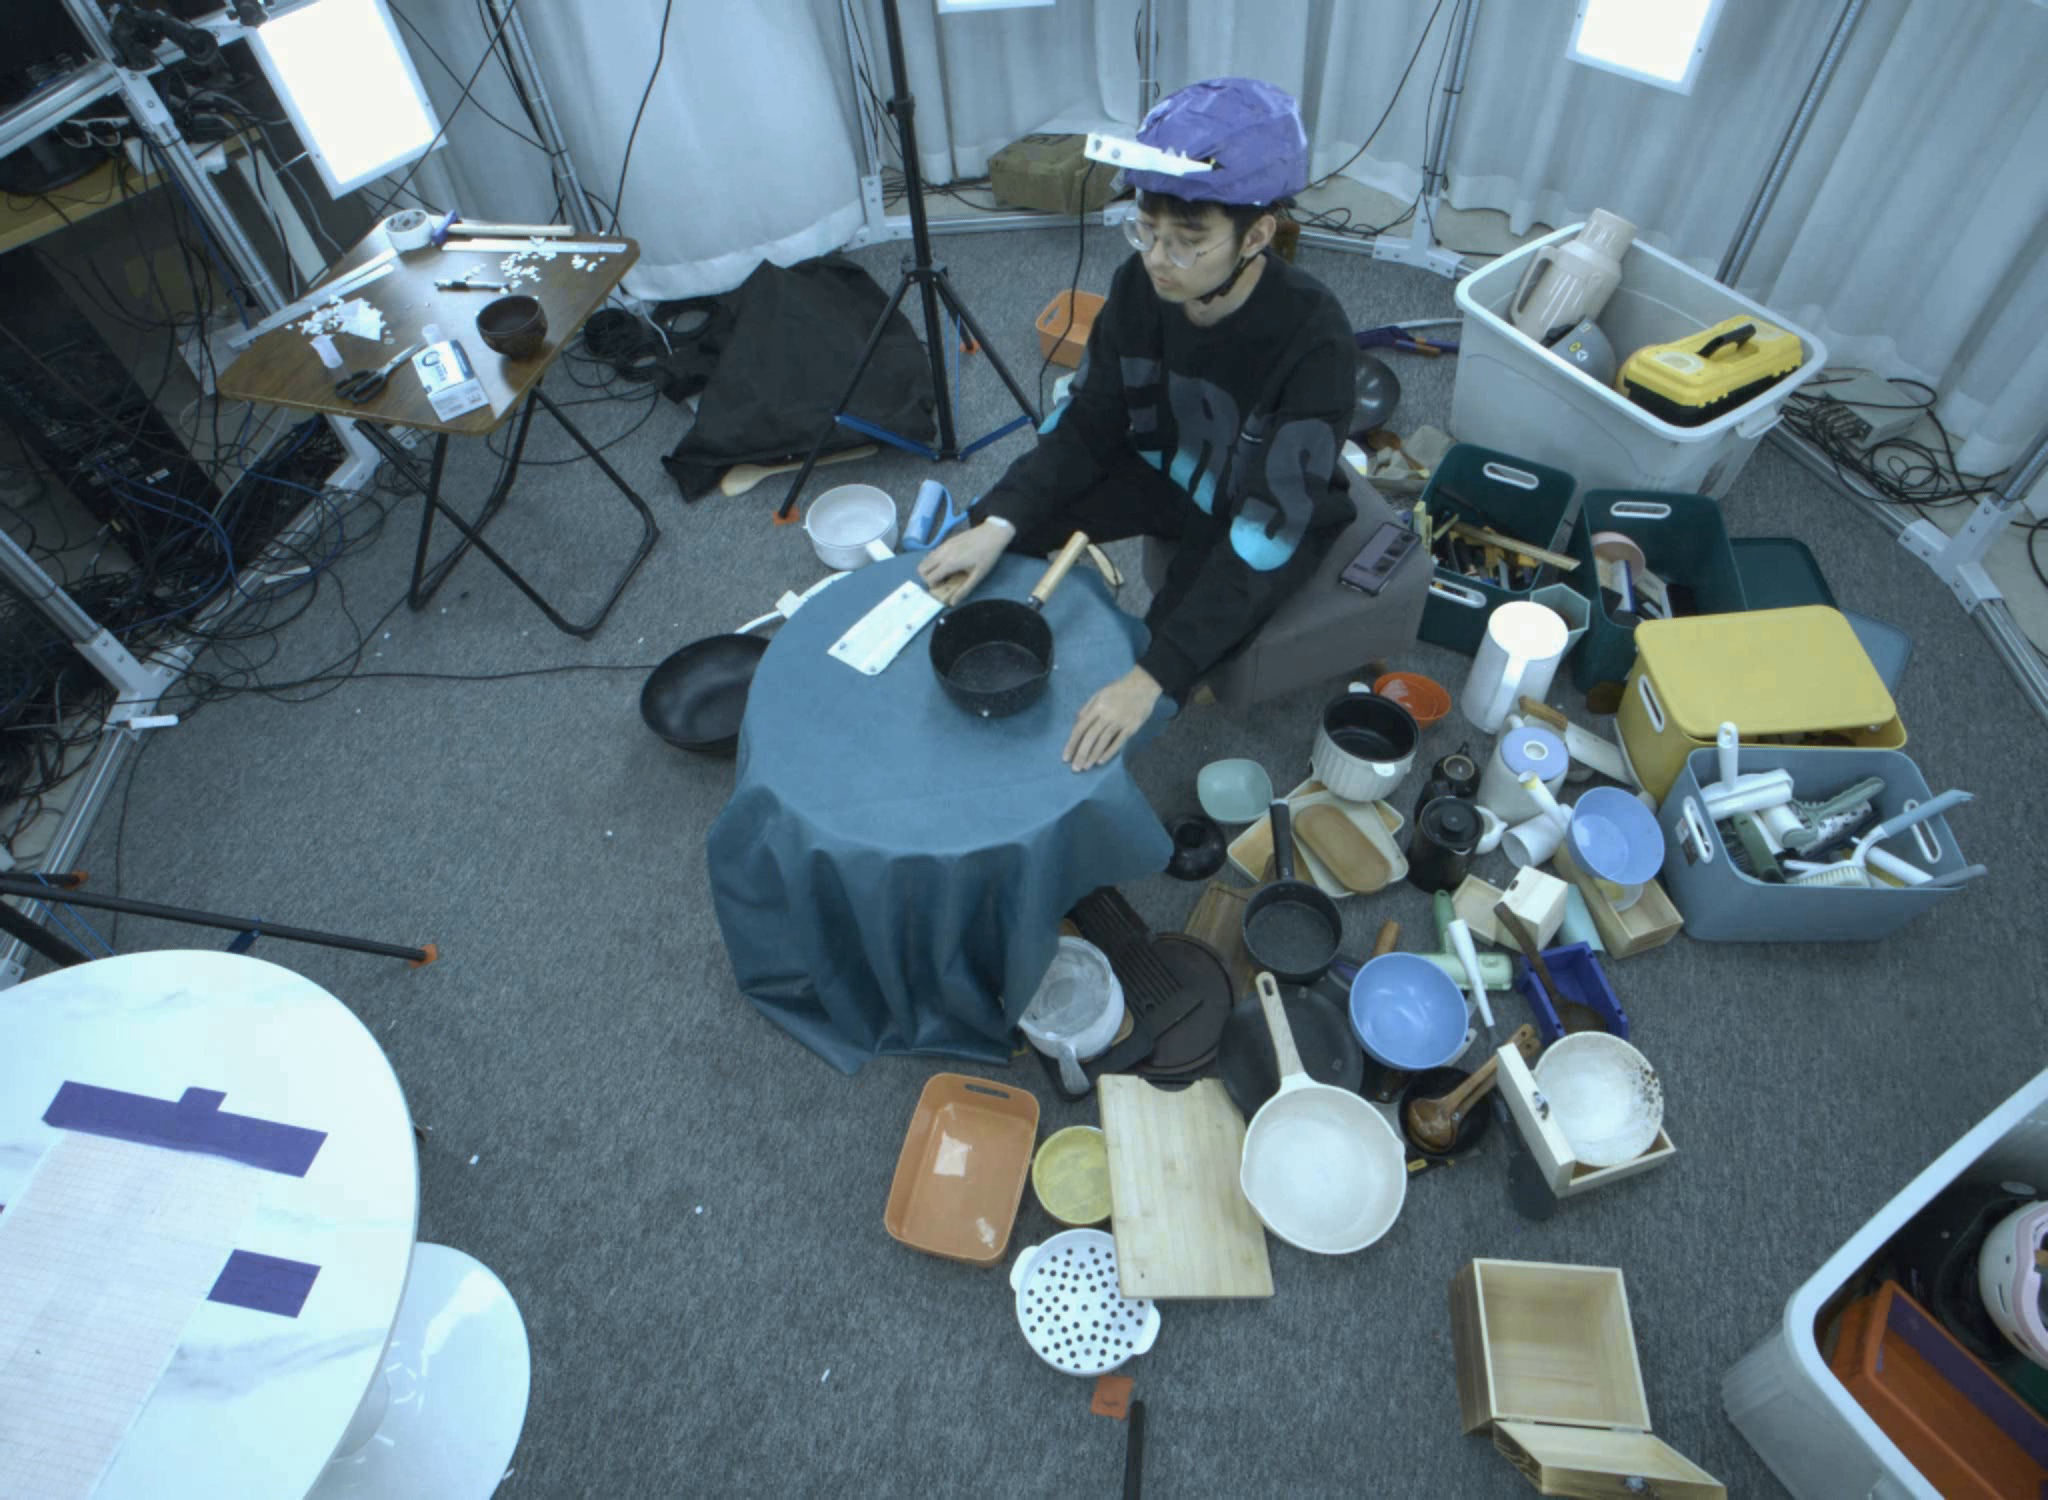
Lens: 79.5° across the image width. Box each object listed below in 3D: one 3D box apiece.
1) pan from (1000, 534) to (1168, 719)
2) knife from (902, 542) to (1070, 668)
[{"bbox_3d":[0.107,-0.189,1.850,0.204,0.109,0.344,30,62,23],"label":"pan"},{"bbox_3d":[-0.050,-0.235,1.944,0.317,0.022,0.112,-38,61,-19],"label":"knife"}]
